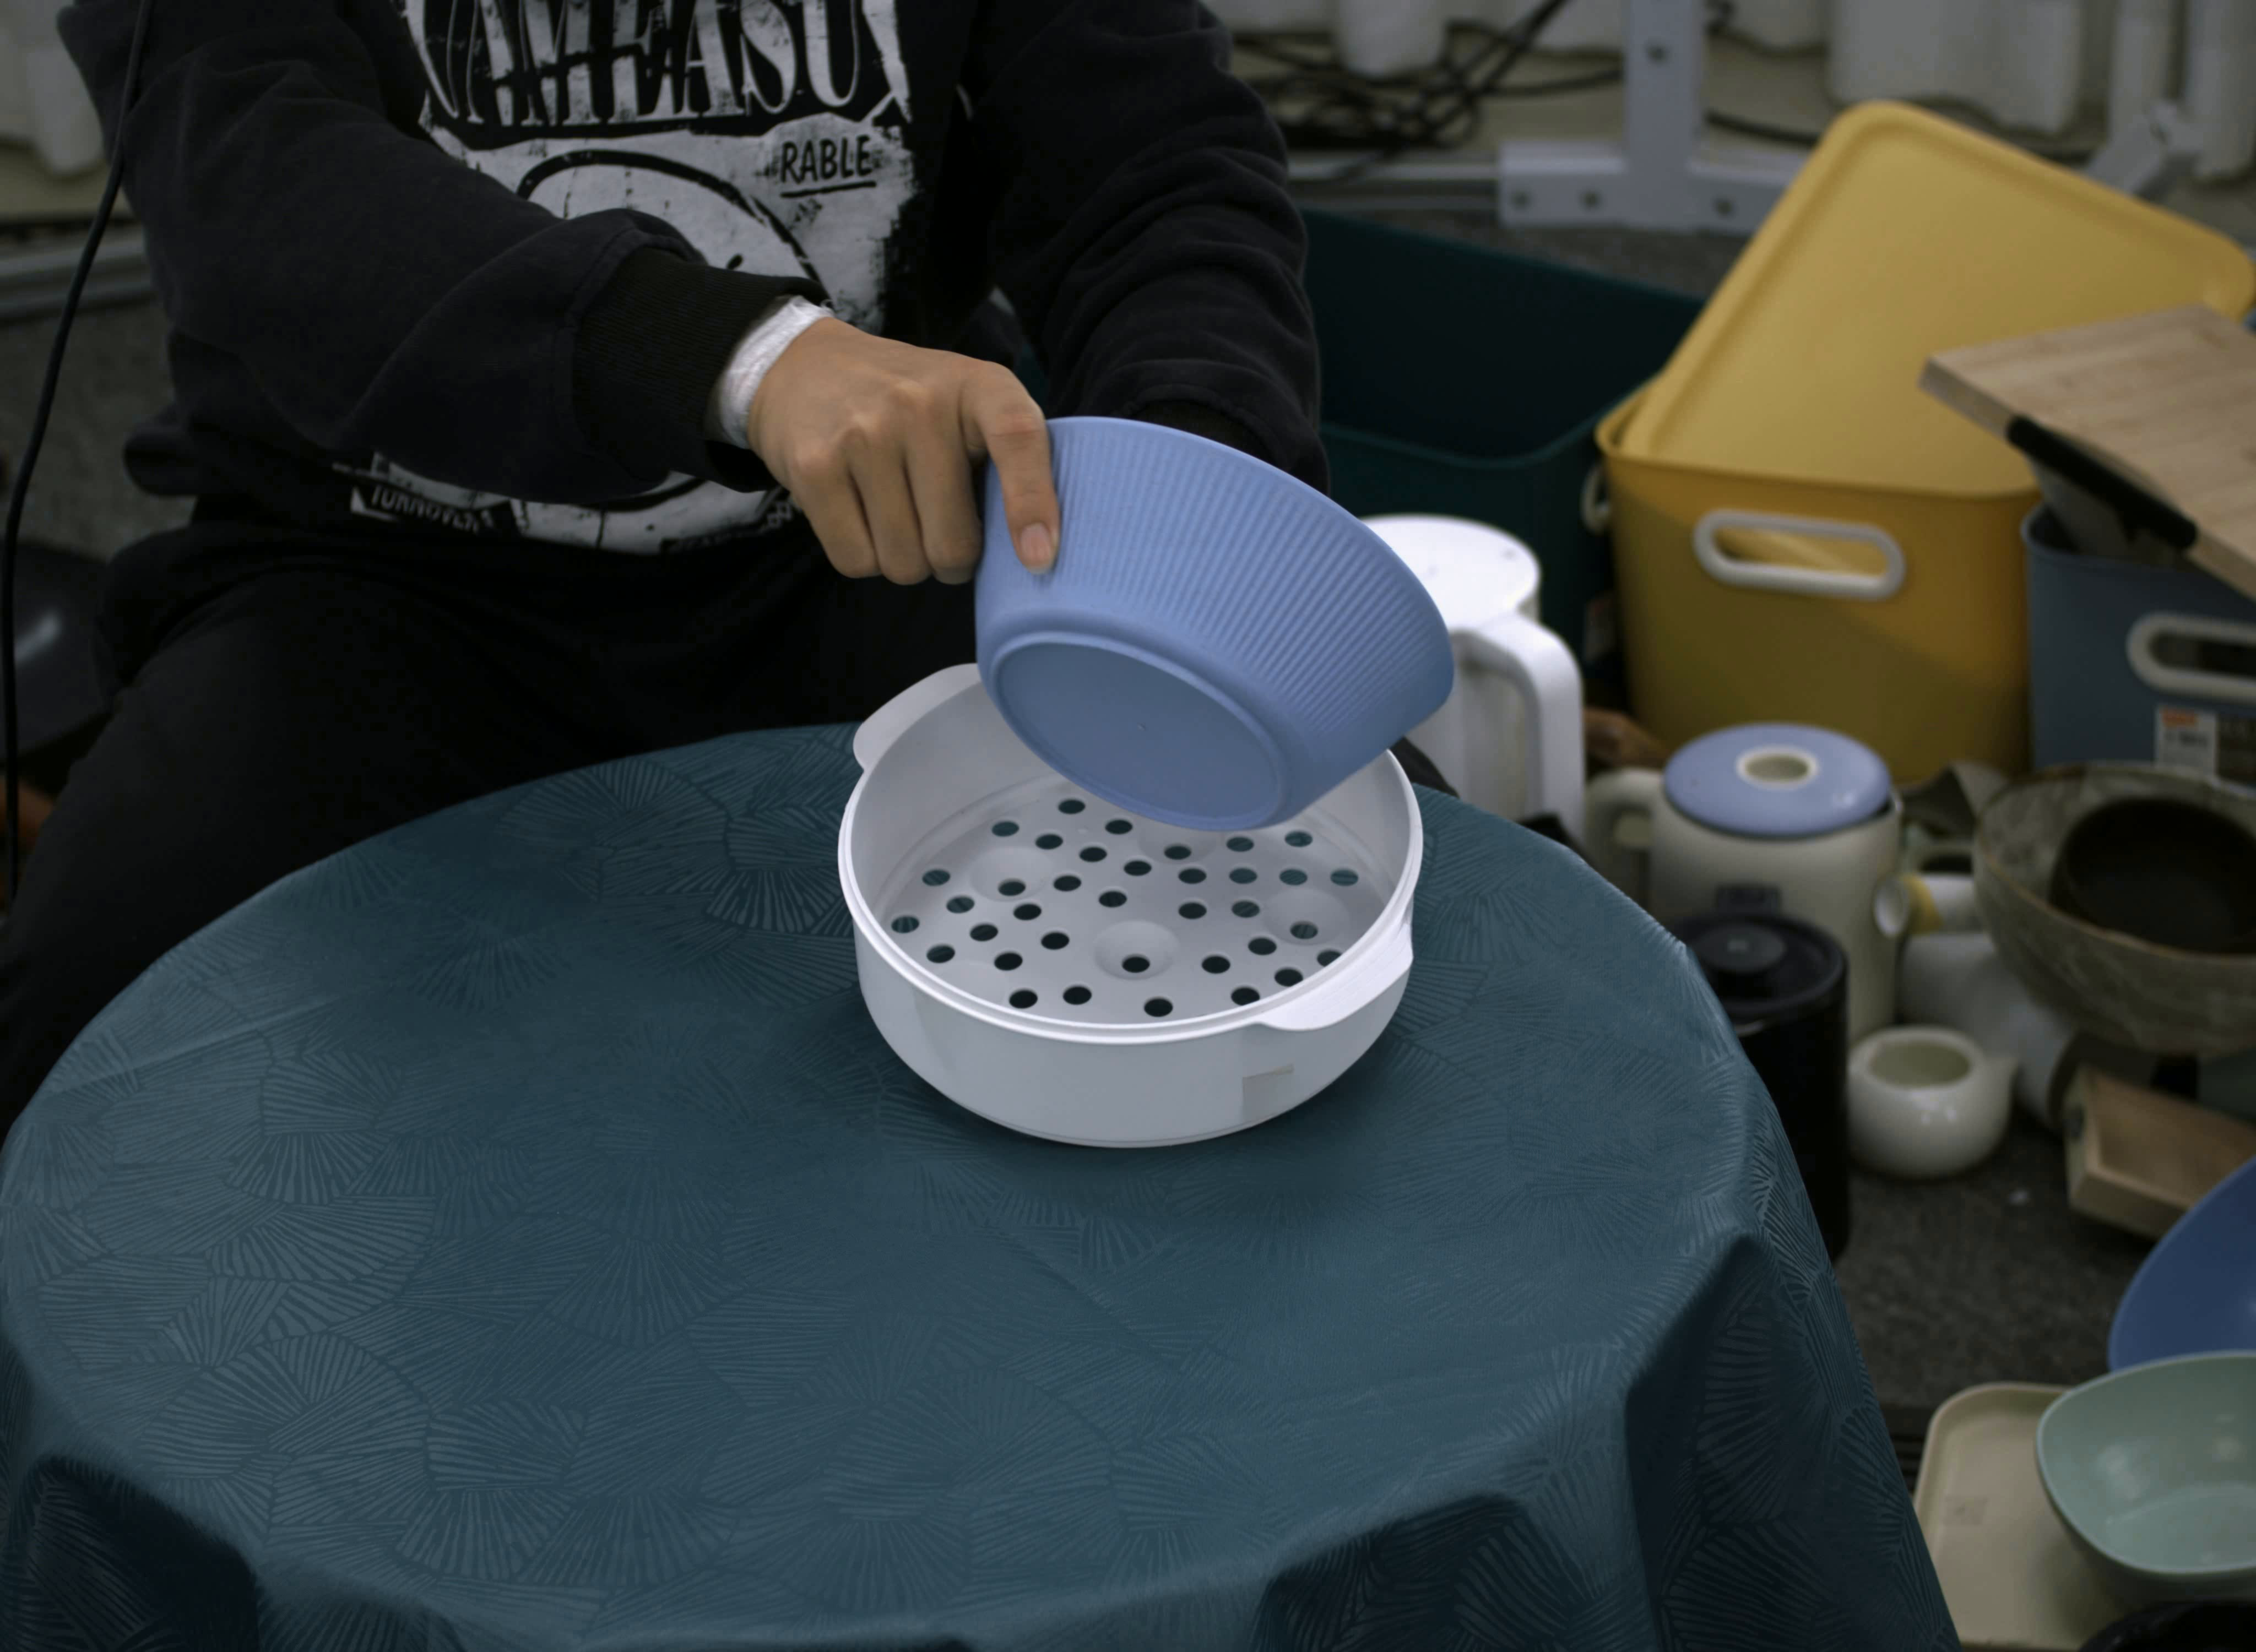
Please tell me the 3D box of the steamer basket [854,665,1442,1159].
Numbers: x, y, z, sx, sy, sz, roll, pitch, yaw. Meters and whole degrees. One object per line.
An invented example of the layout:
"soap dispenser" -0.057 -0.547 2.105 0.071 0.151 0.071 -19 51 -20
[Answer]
"steamer basket" 0.007 0.028 1.934 0.231 0.068 0.204 33 51 30

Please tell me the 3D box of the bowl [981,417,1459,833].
"bowl" 0.019 -0.057 1.889 0.175 0.174 0.071 12 59 26
